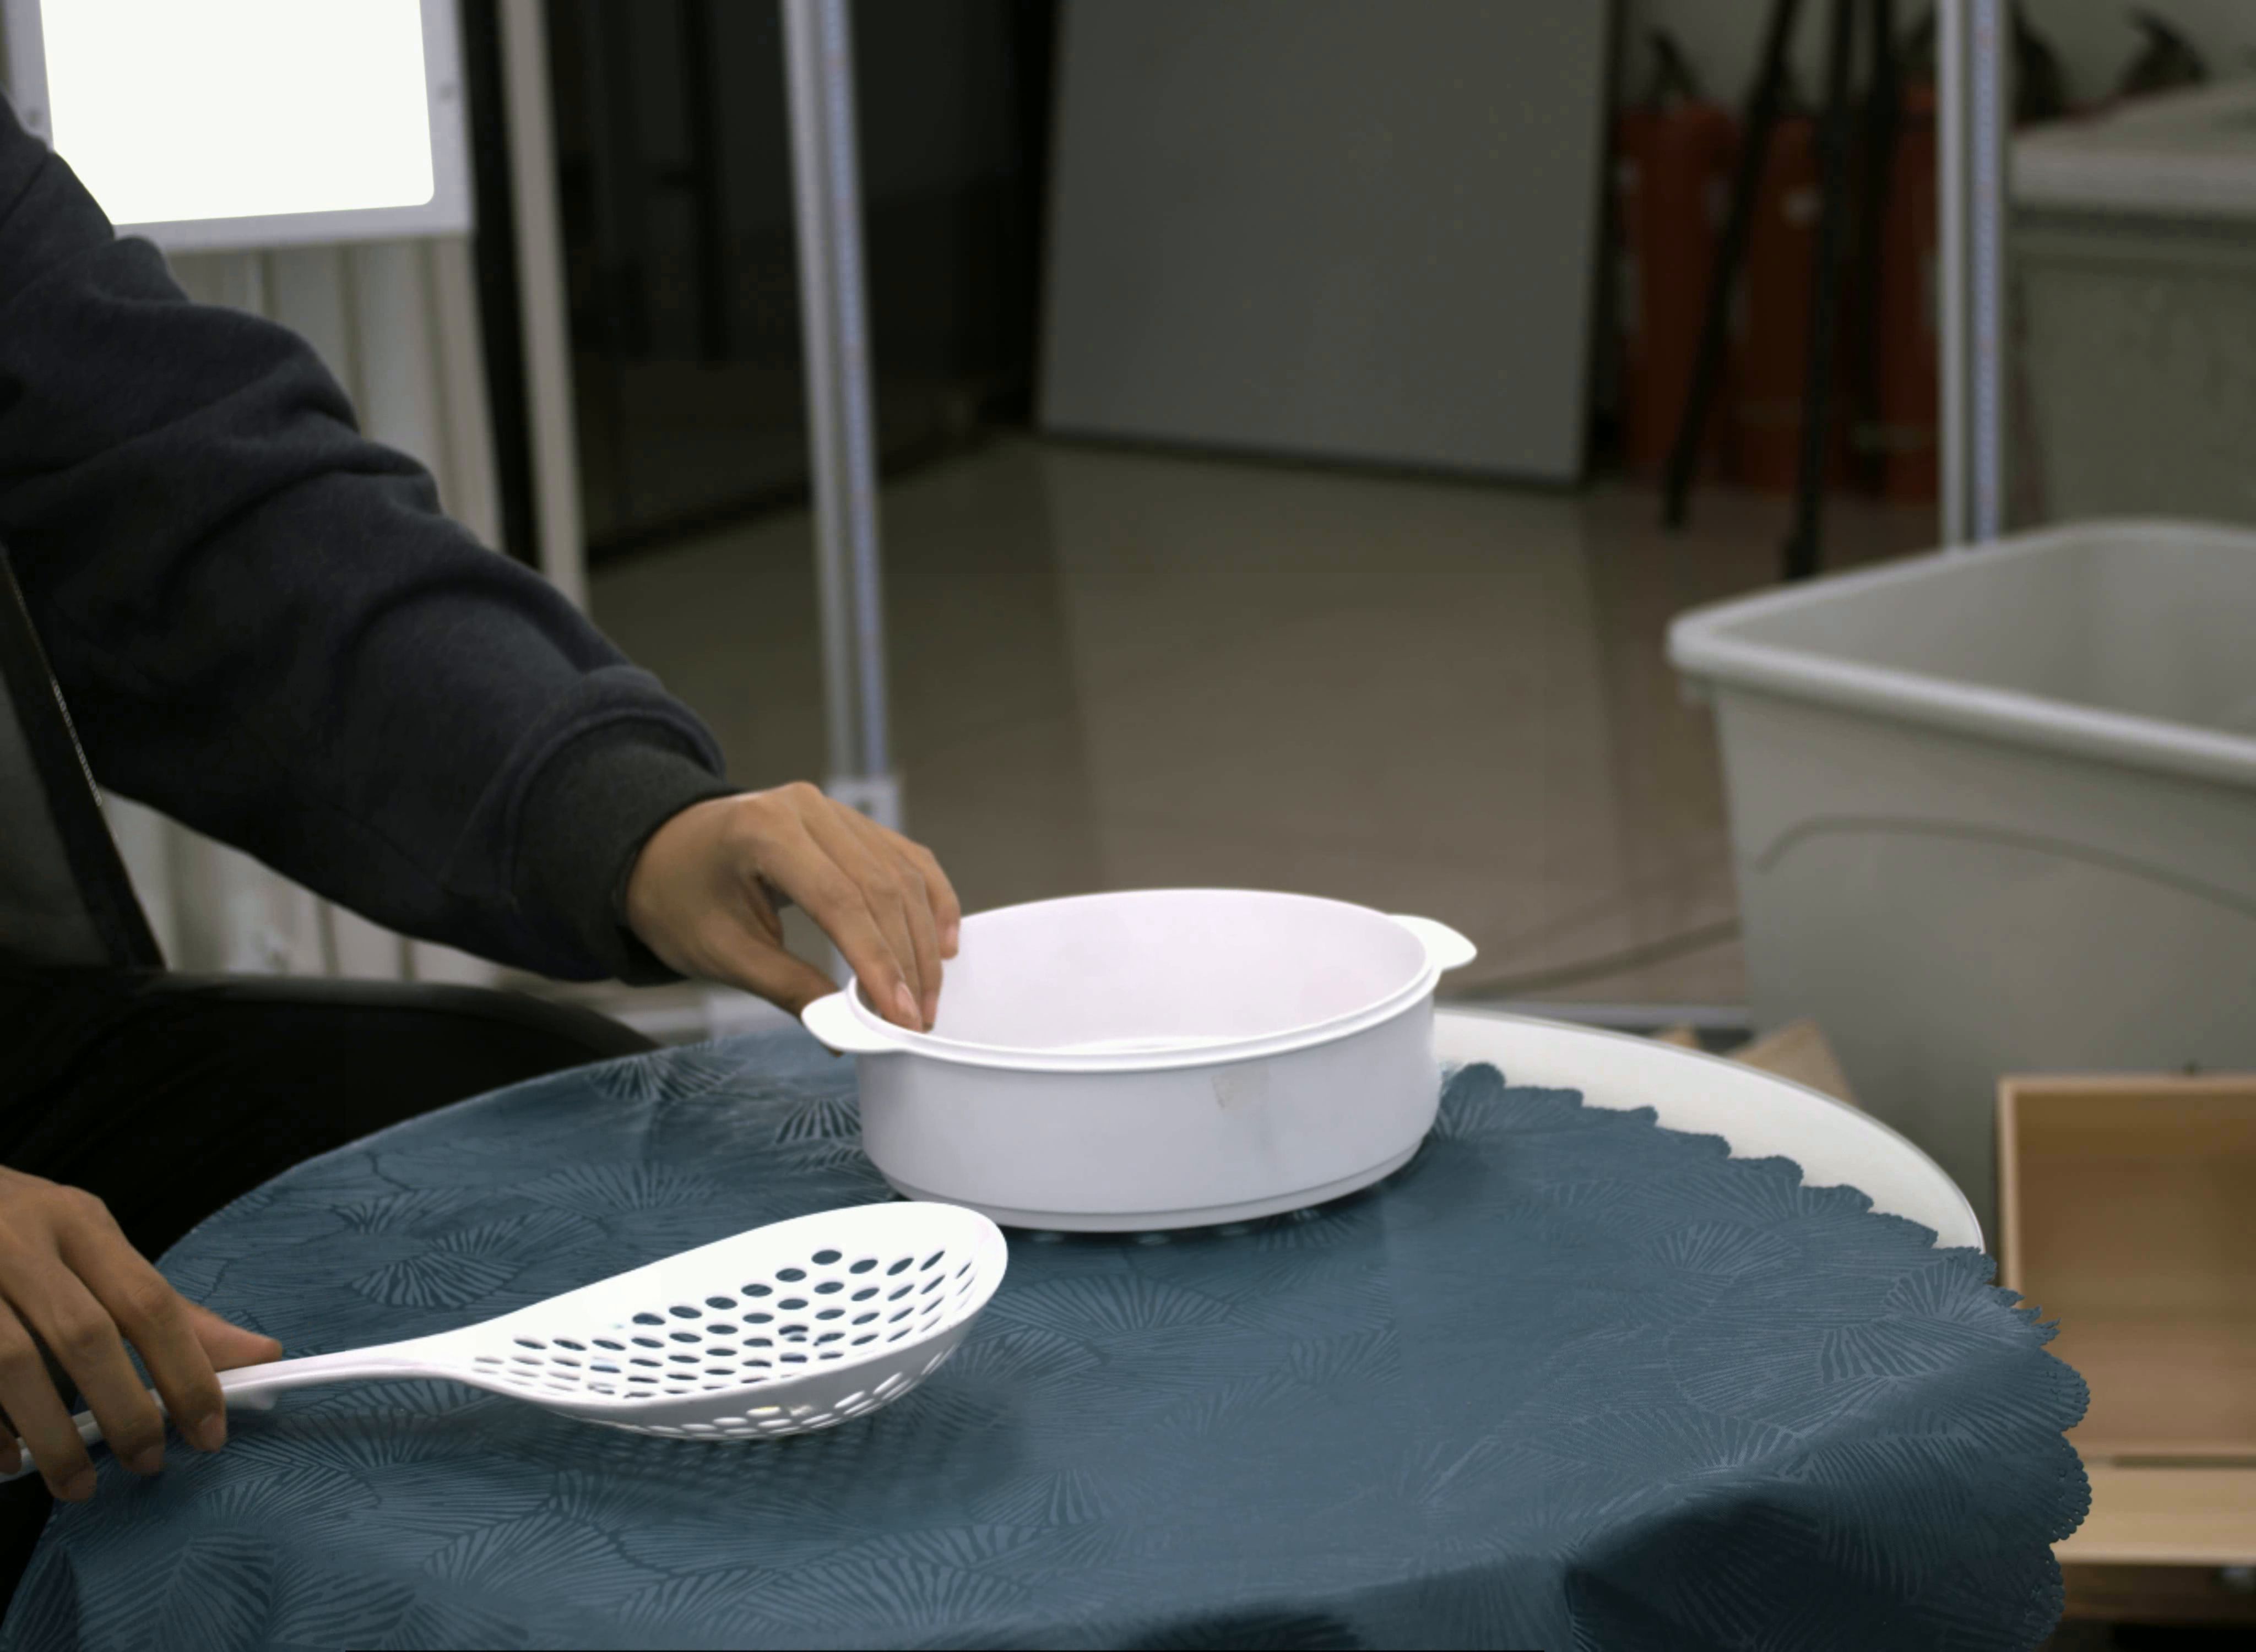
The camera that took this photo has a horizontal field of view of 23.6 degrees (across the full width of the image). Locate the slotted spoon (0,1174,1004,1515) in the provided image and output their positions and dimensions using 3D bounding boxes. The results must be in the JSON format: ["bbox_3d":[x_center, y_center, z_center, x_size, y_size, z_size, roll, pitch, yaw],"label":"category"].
[{"bbox_3d":[-0.201,0.167,1.591,0.345,0.051,0.137,-8,19,8],"label":"slotted spoon"}]

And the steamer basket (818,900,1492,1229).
[{"bbox_3d":[0.011,0.079,1.796,0.226,0.070,0.203,-6,13,-16],"label":"steamer basket"}]
